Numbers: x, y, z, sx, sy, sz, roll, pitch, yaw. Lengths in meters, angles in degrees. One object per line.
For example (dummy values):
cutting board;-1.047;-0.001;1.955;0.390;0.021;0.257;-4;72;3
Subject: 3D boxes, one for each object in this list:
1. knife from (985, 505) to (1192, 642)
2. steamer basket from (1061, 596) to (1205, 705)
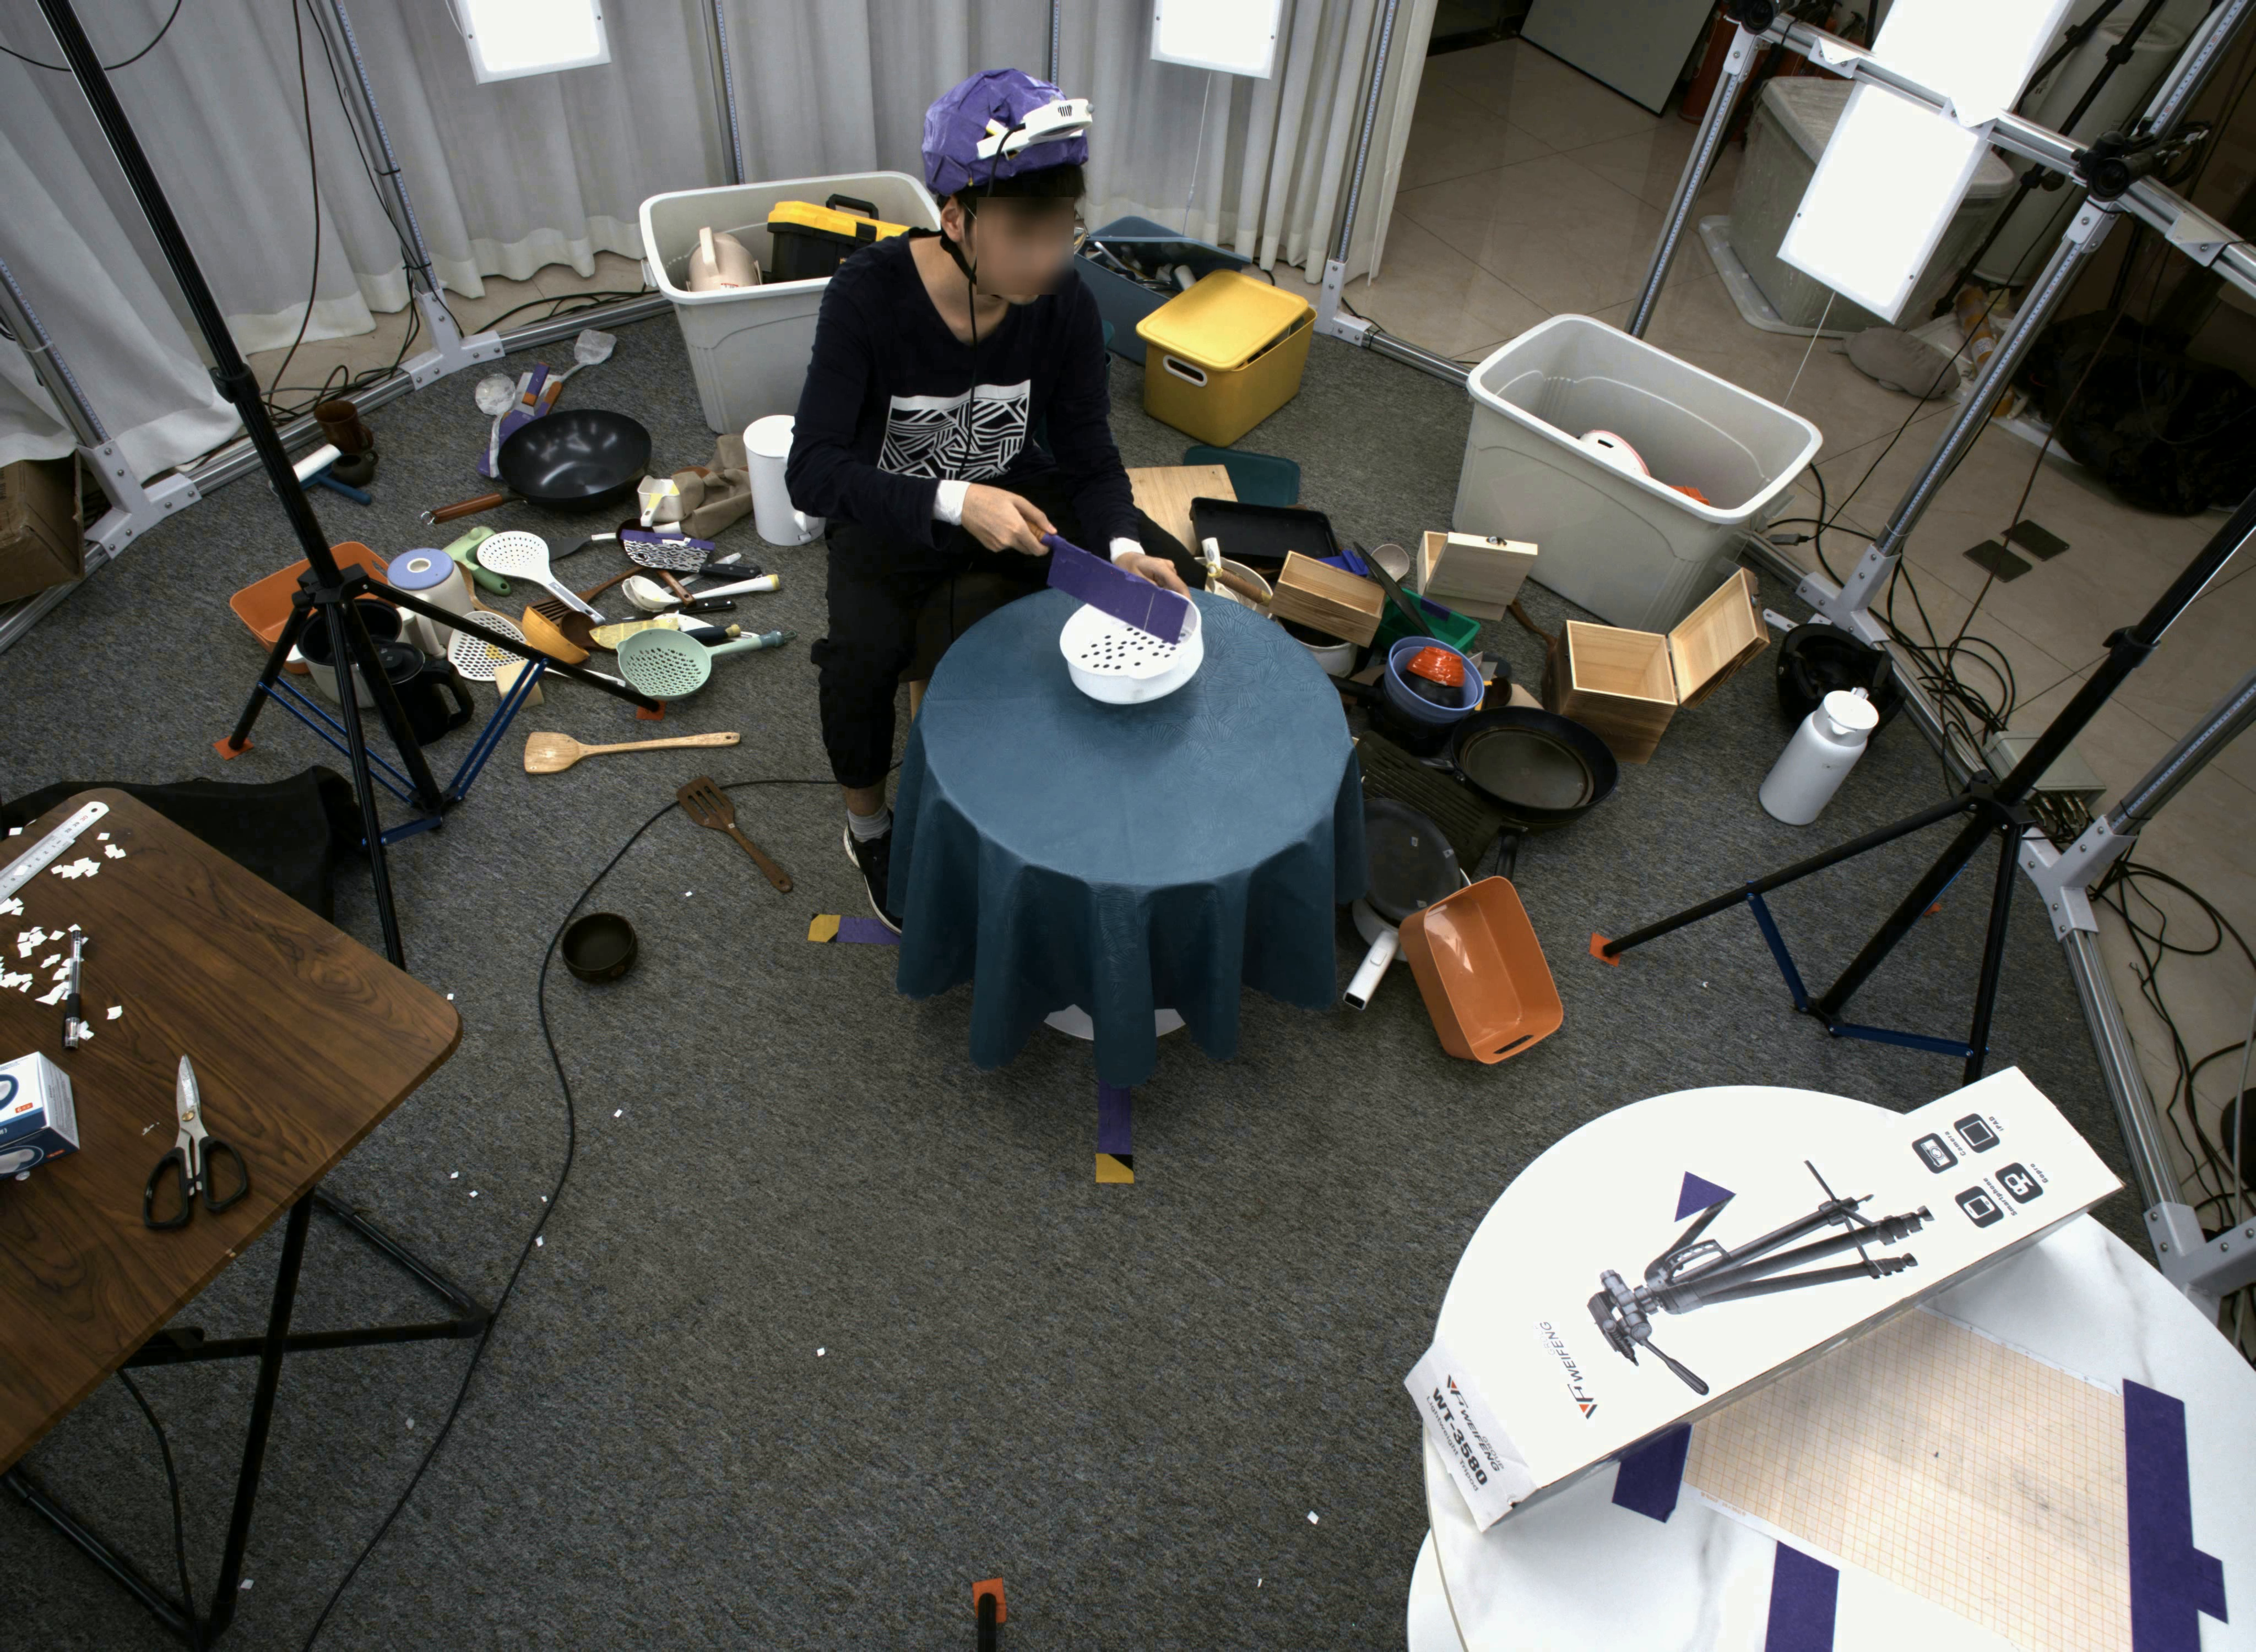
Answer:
knife;-0.062;-0.348;1.808;0.316;0.101;0.033;28;50;8
steamer basket;0.009;-0.250;1.813;0.202;0.067;0.236;-19;40;-7
